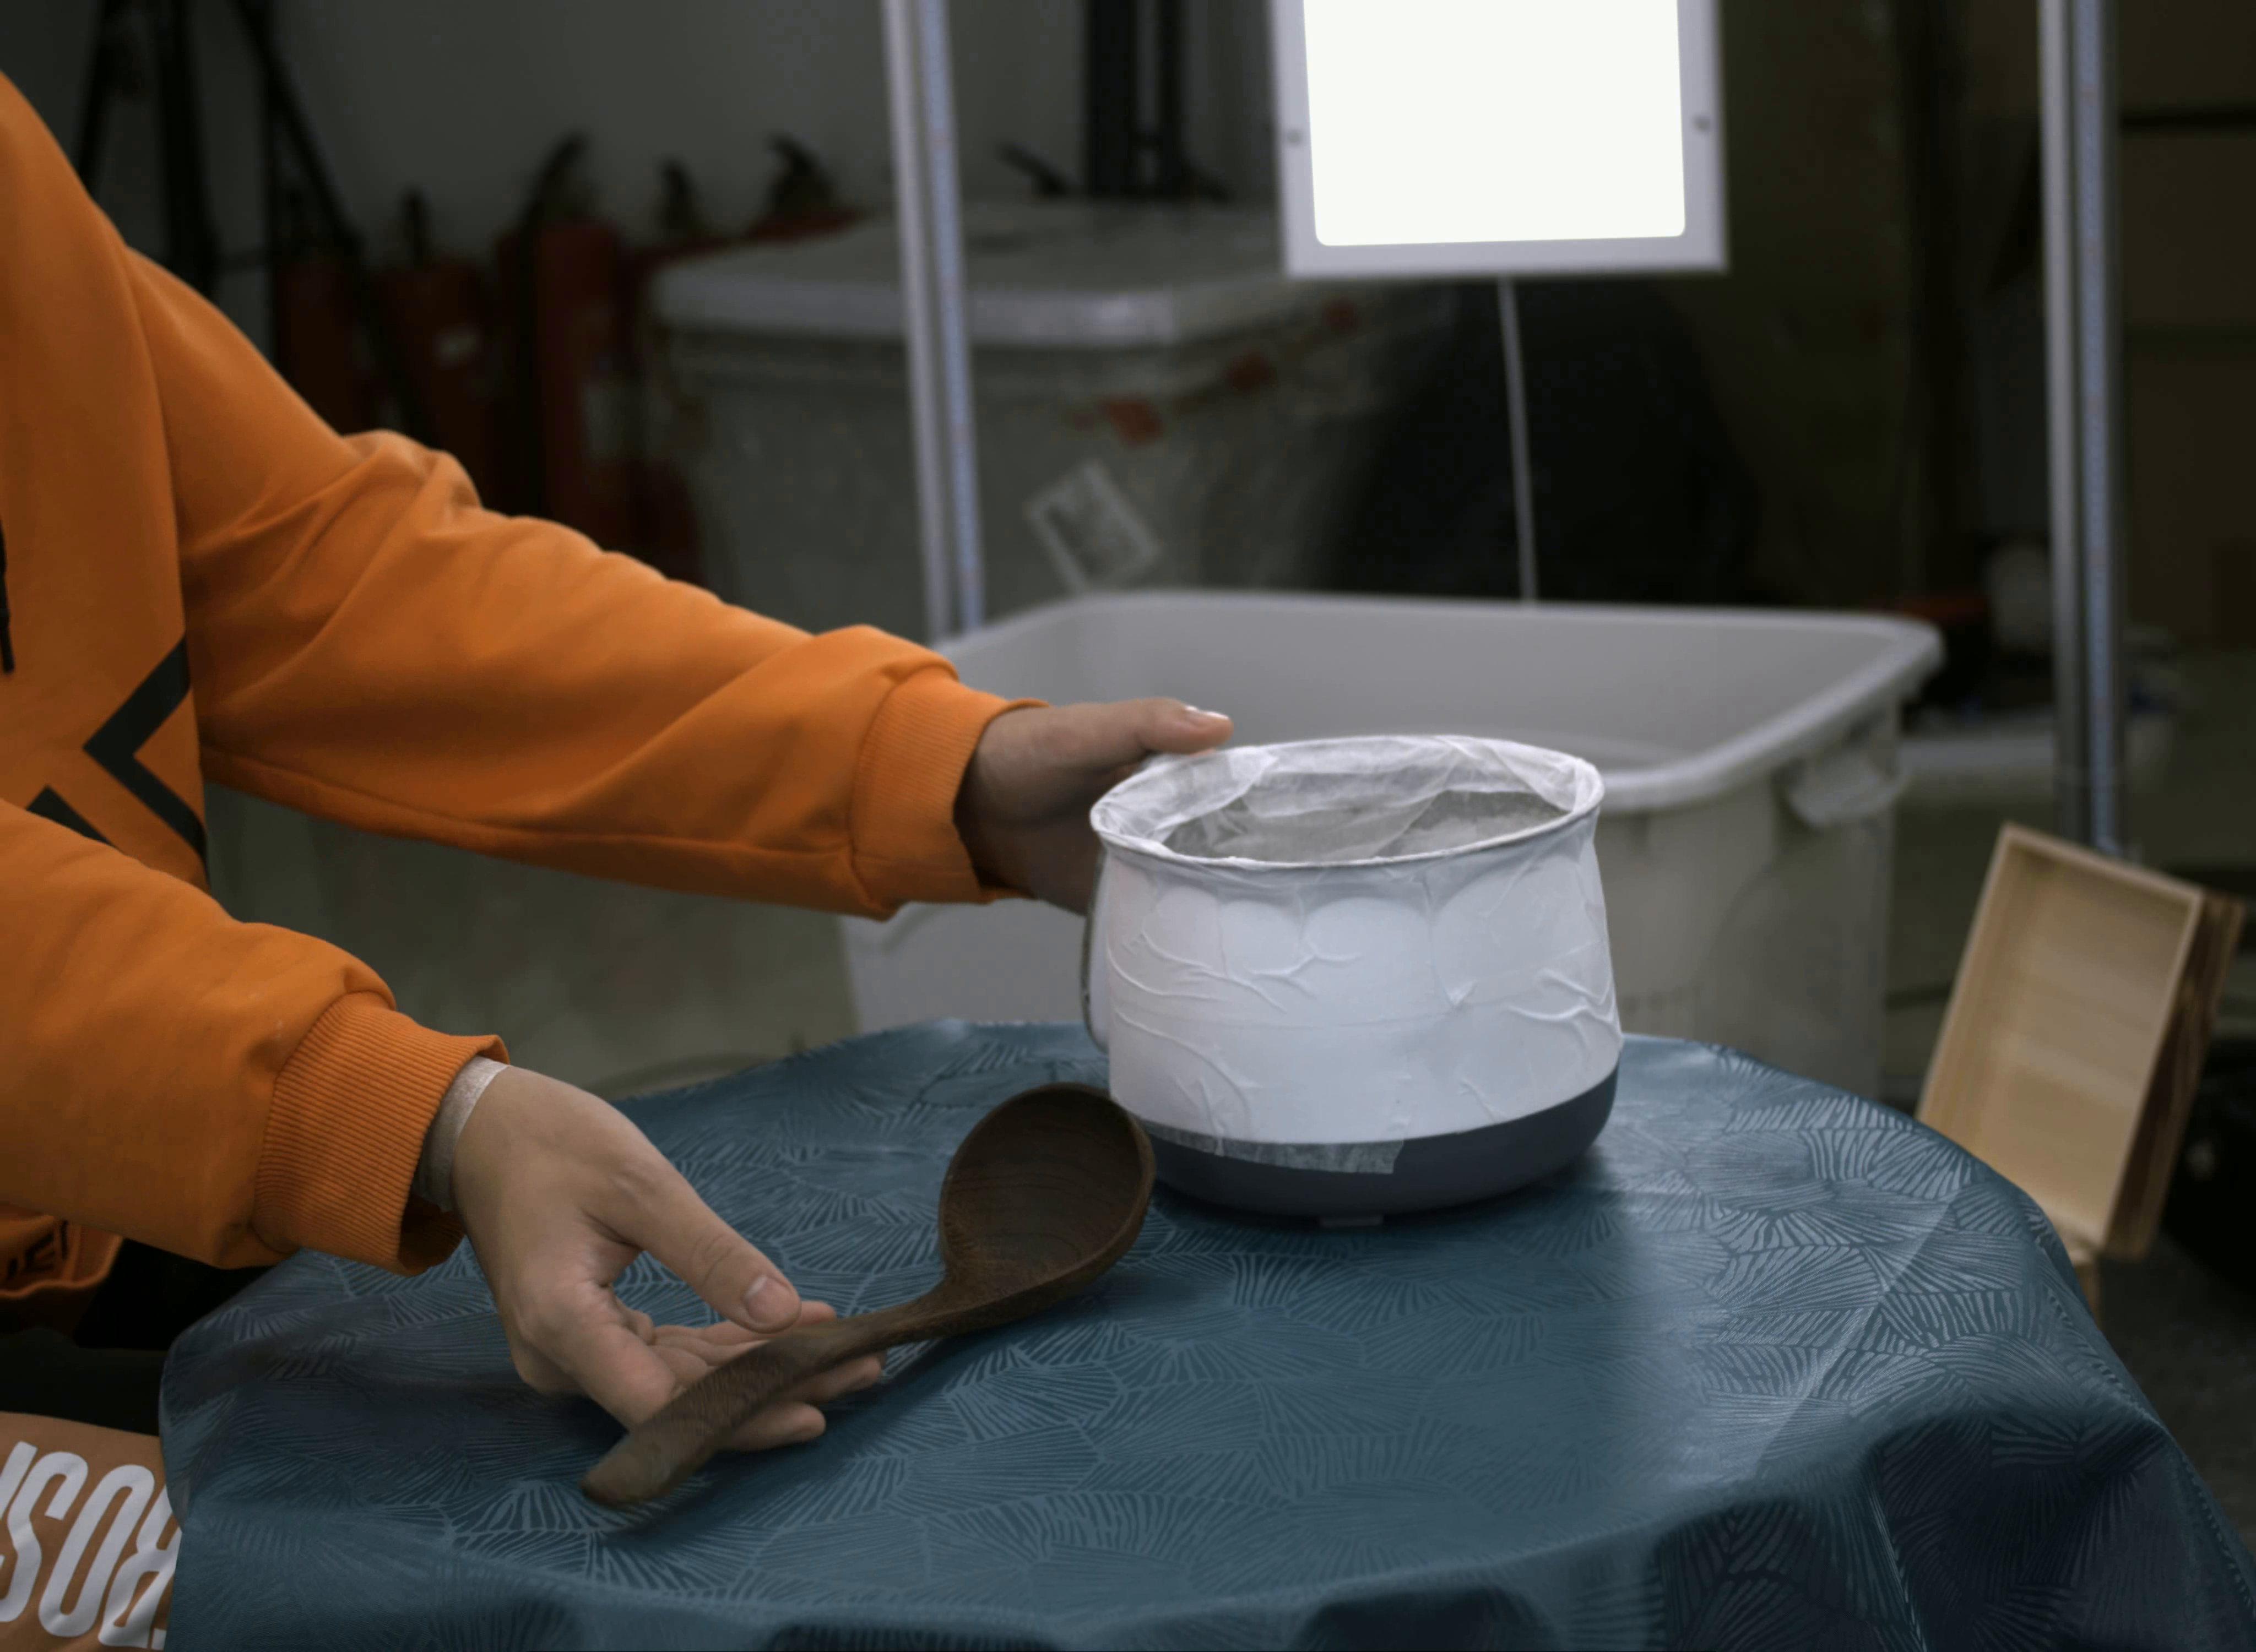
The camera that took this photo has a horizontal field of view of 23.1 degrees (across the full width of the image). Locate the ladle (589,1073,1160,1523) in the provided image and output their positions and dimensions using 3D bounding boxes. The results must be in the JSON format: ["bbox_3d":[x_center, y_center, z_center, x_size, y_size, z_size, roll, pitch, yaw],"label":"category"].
[{"bbox_3d":[-0.080,0.141,1.711,0.077,0.071,0.267,6,15,32],"label":"ladle"}]

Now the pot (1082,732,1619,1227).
[{"bbox_3d":[0.062,0.047,1.909,0.174,0.137,0.238,-14,17,-36],"label":"pot"}]
